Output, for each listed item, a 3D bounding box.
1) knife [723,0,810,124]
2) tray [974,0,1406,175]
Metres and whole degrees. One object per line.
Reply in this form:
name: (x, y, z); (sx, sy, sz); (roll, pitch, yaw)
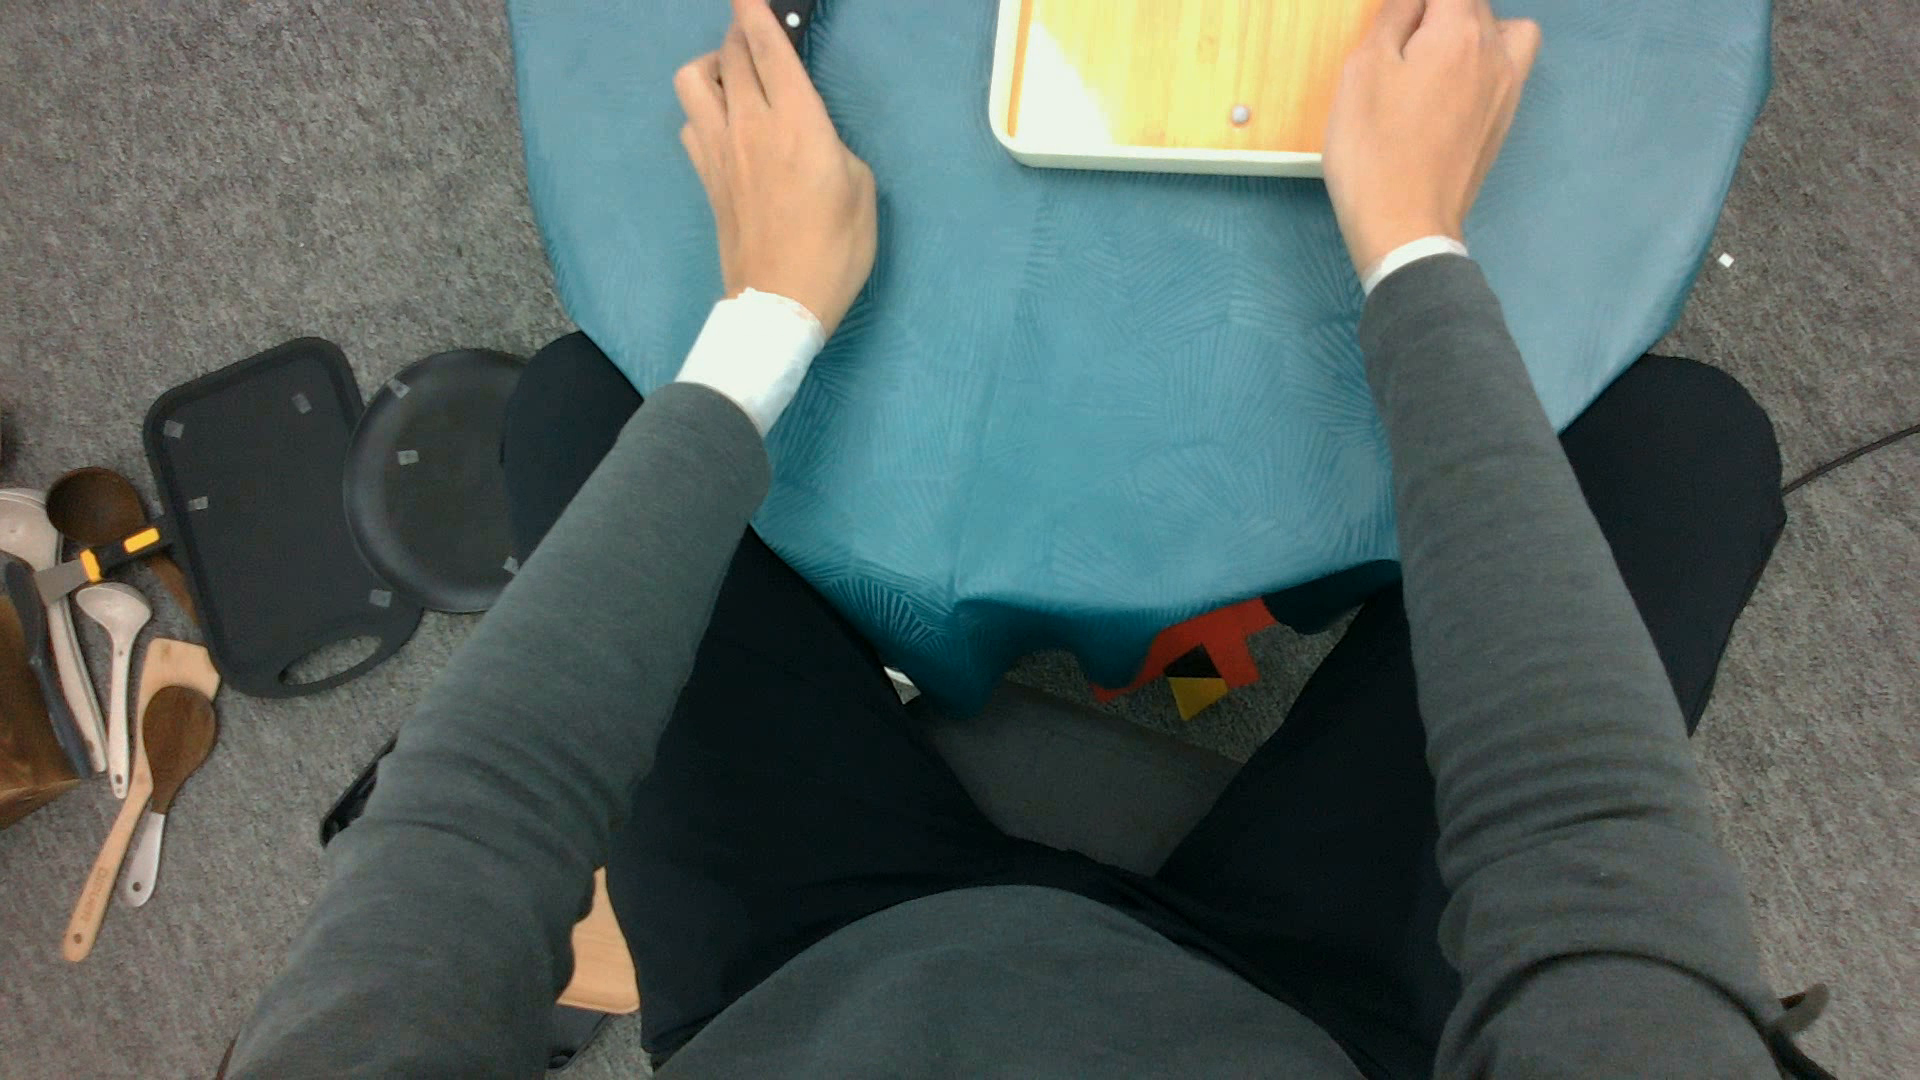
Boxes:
knife: (-0.067, -0.313, 0.674); (0.024, 0.016, 0.238); (20, 87, -17)
tray: (0.116, -0.323, 0.640); (0.191, 0.027, 0.300); (7, 88, 13)
